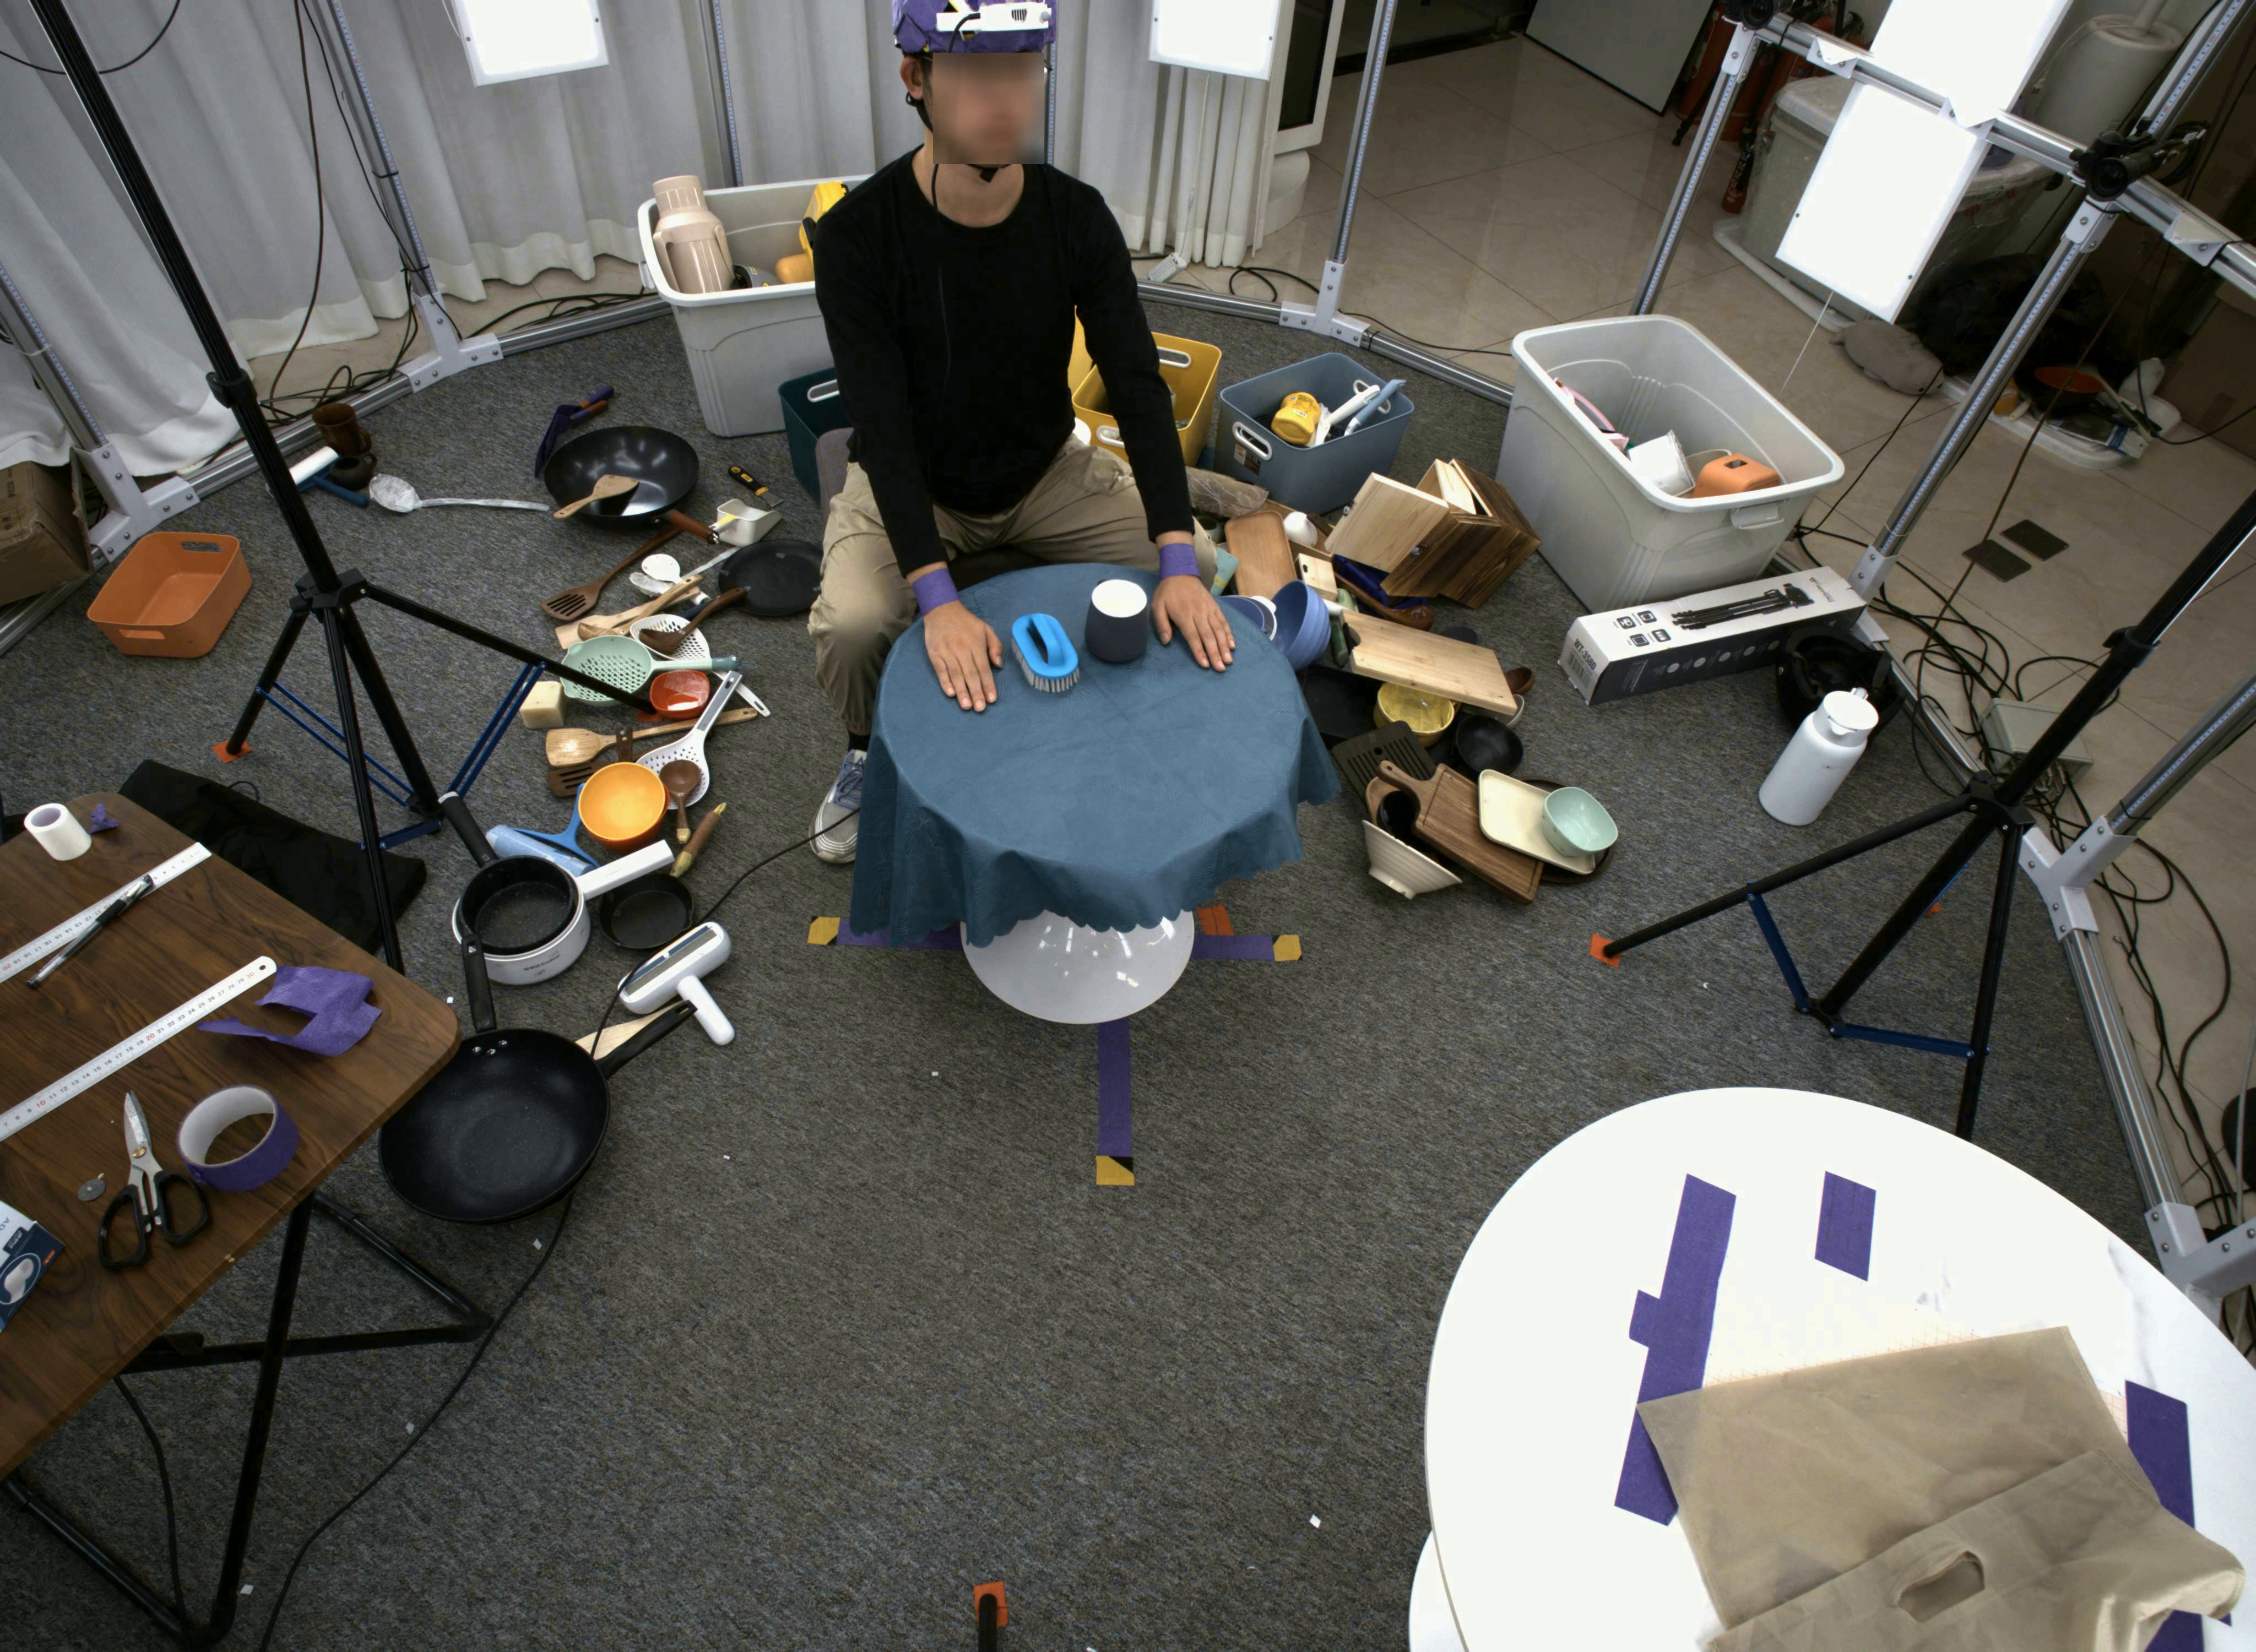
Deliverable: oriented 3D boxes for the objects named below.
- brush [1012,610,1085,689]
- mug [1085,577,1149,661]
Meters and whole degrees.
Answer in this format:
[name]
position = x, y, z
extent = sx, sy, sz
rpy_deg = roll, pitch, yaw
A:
[brush]
position = -0.117, -0.264, 1.845
extent = 0.084, 0.062, 0.145
rpy_deg = -17, 51, -12
[mug]
position = -0.019, -0.310, 1.873
extent = 0.093, 0.088, 0.126
rpy_deg = -10, 52, -14
